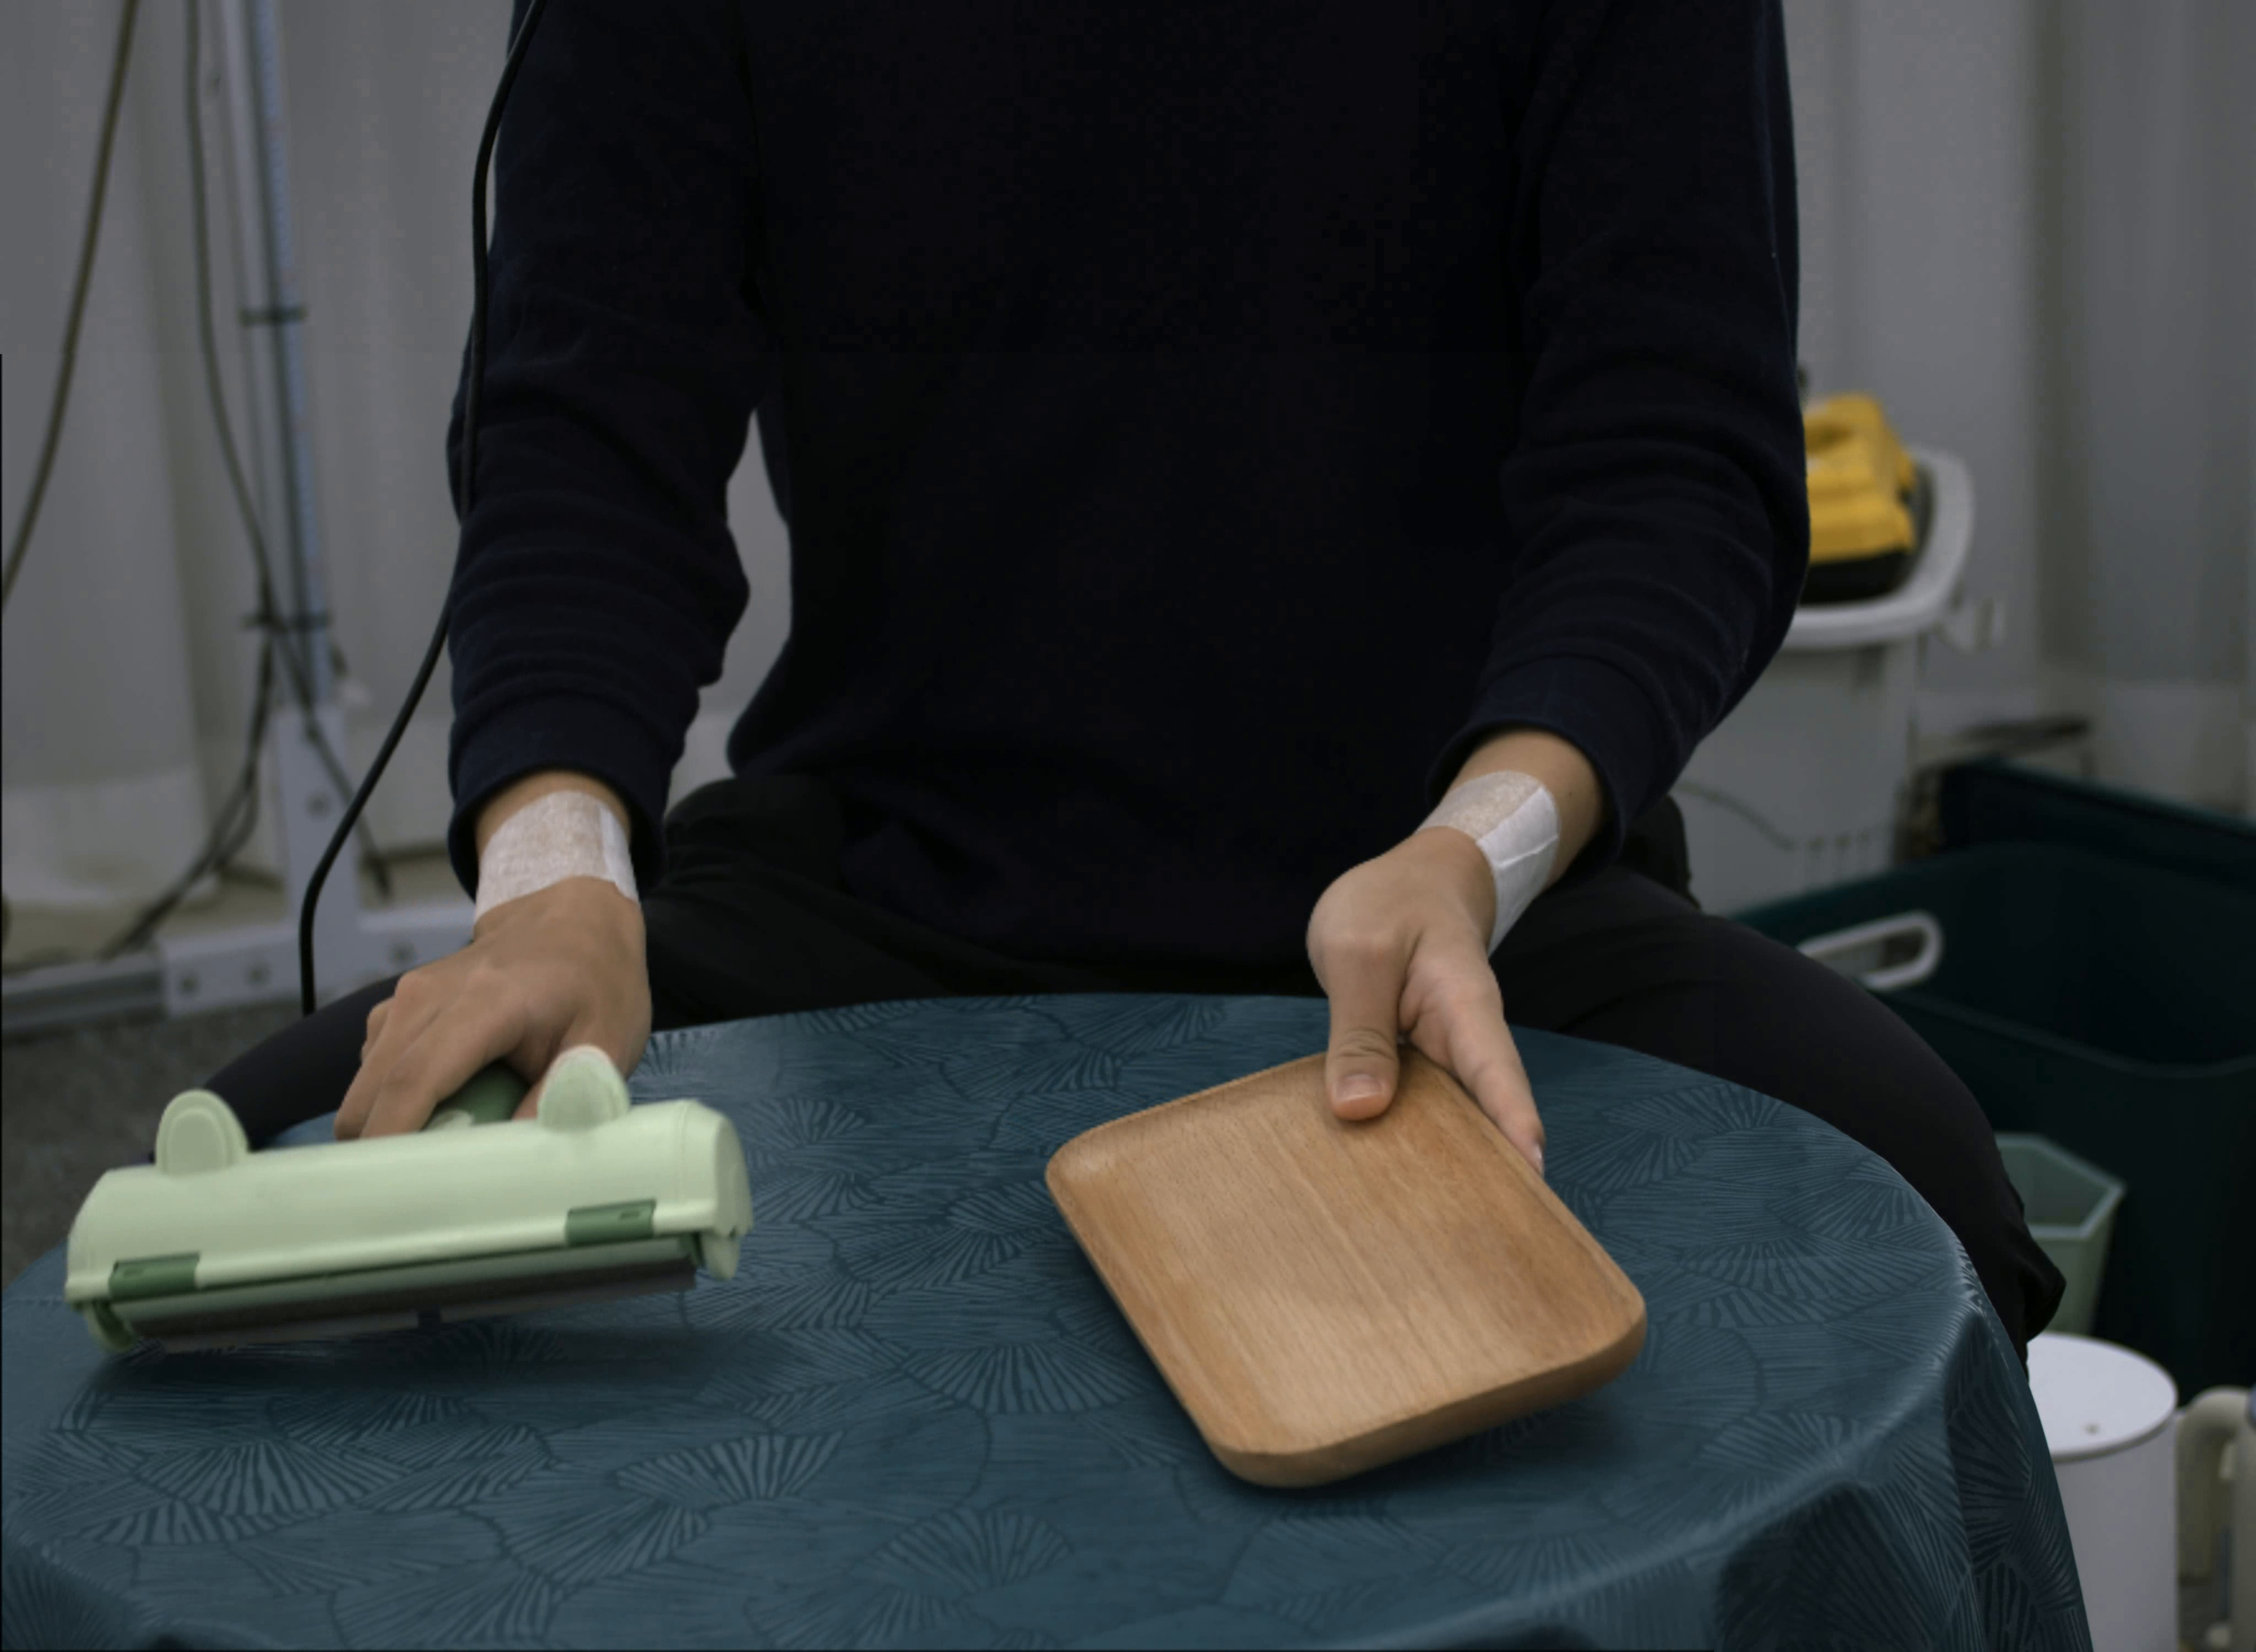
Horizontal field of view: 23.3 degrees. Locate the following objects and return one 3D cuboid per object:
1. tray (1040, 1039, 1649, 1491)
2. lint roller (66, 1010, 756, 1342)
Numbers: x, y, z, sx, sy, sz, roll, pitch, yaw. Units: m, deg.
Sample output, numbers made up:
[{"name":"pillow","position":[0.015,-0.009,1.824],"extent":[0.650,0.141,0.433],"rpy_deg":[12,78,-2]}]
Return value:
[{"name":"tray","position":[0.058,0.123,1.576],"extent":[0.130,0.023,0.253],"rpy_deg":[-15,19,-9]},{"name":"lint roller","position":[-0.208,0.081,1.646],"extent":[0.198,0.081,0.185],"rpy_deg":[-7,27,6]}]
